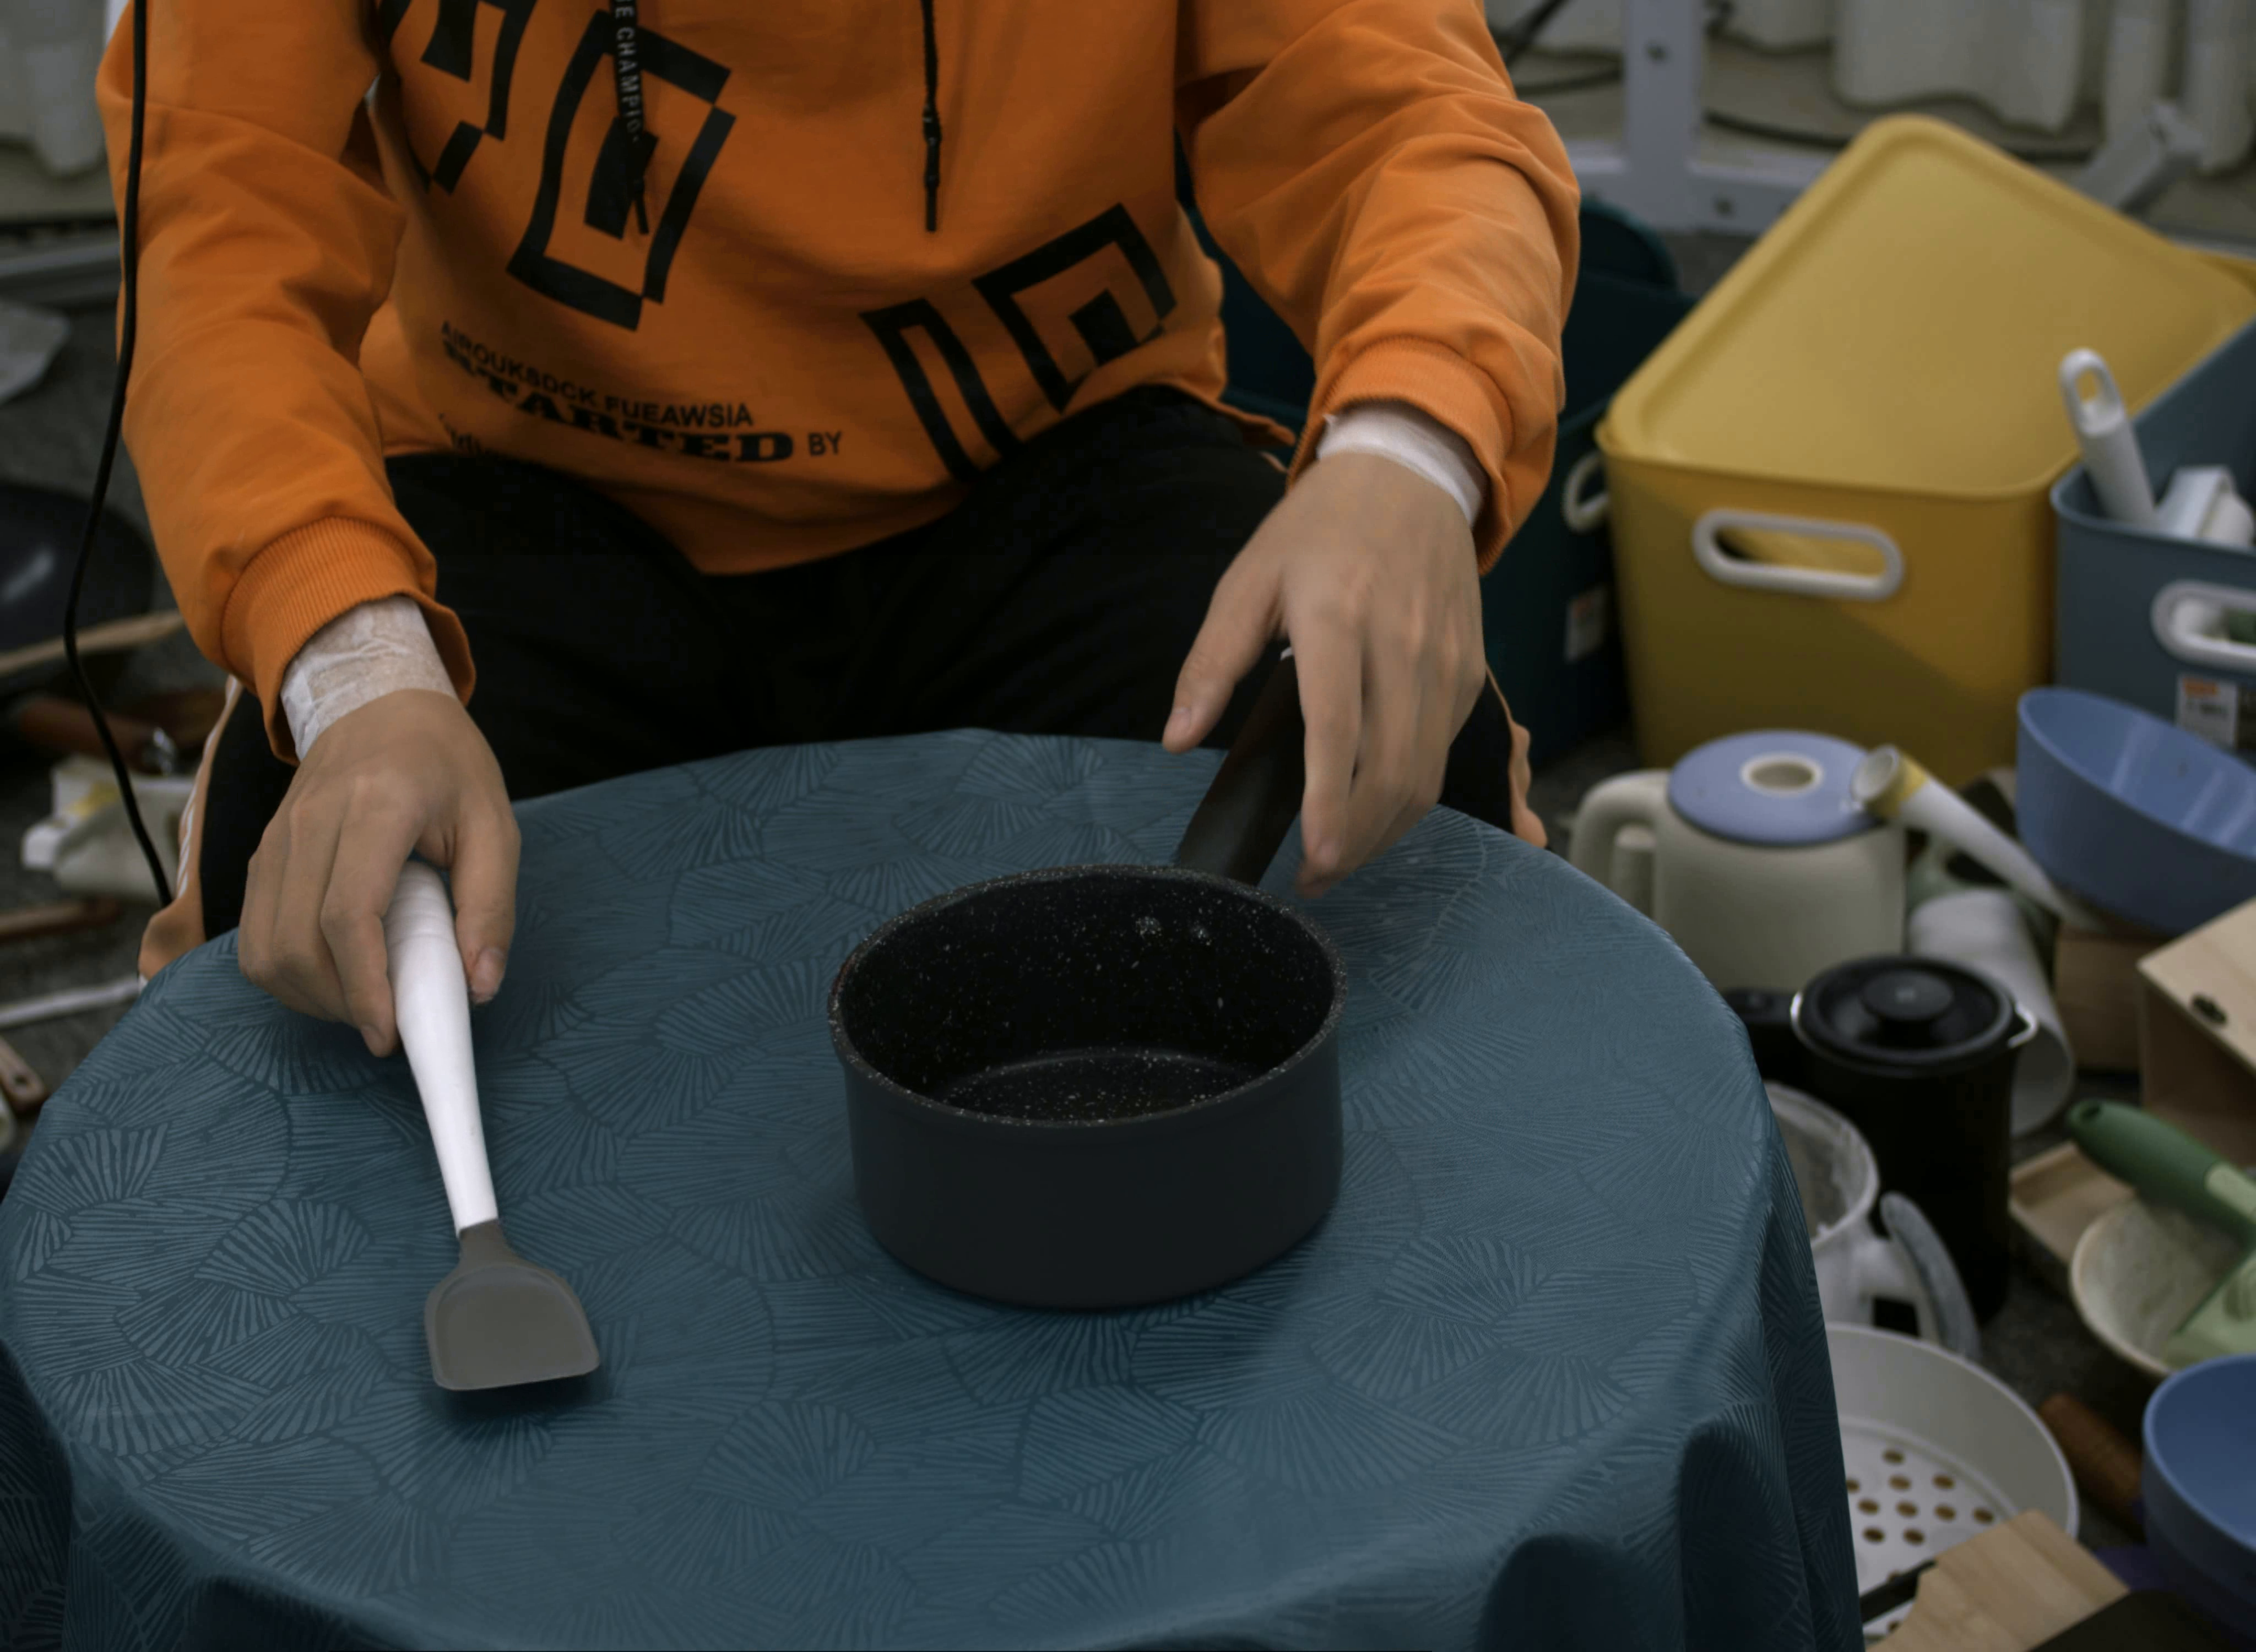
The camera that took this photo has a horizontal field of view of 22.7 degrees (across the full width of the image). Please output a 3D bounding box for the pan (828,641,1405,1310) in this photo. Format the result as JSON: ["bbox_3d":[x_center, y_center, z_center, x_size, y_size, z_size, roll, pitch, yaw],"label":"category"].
[{"bbox_3d":[0.020,0.047,1.913,0.171,0.085,0.334,9,32,21],"label":"pan"}]

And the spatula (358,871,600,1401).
[{"bbox_3d":[-0.223,0.107,1.869,0.058,0.032,0.291,-2,33,-14],"label":"spatula"}]
